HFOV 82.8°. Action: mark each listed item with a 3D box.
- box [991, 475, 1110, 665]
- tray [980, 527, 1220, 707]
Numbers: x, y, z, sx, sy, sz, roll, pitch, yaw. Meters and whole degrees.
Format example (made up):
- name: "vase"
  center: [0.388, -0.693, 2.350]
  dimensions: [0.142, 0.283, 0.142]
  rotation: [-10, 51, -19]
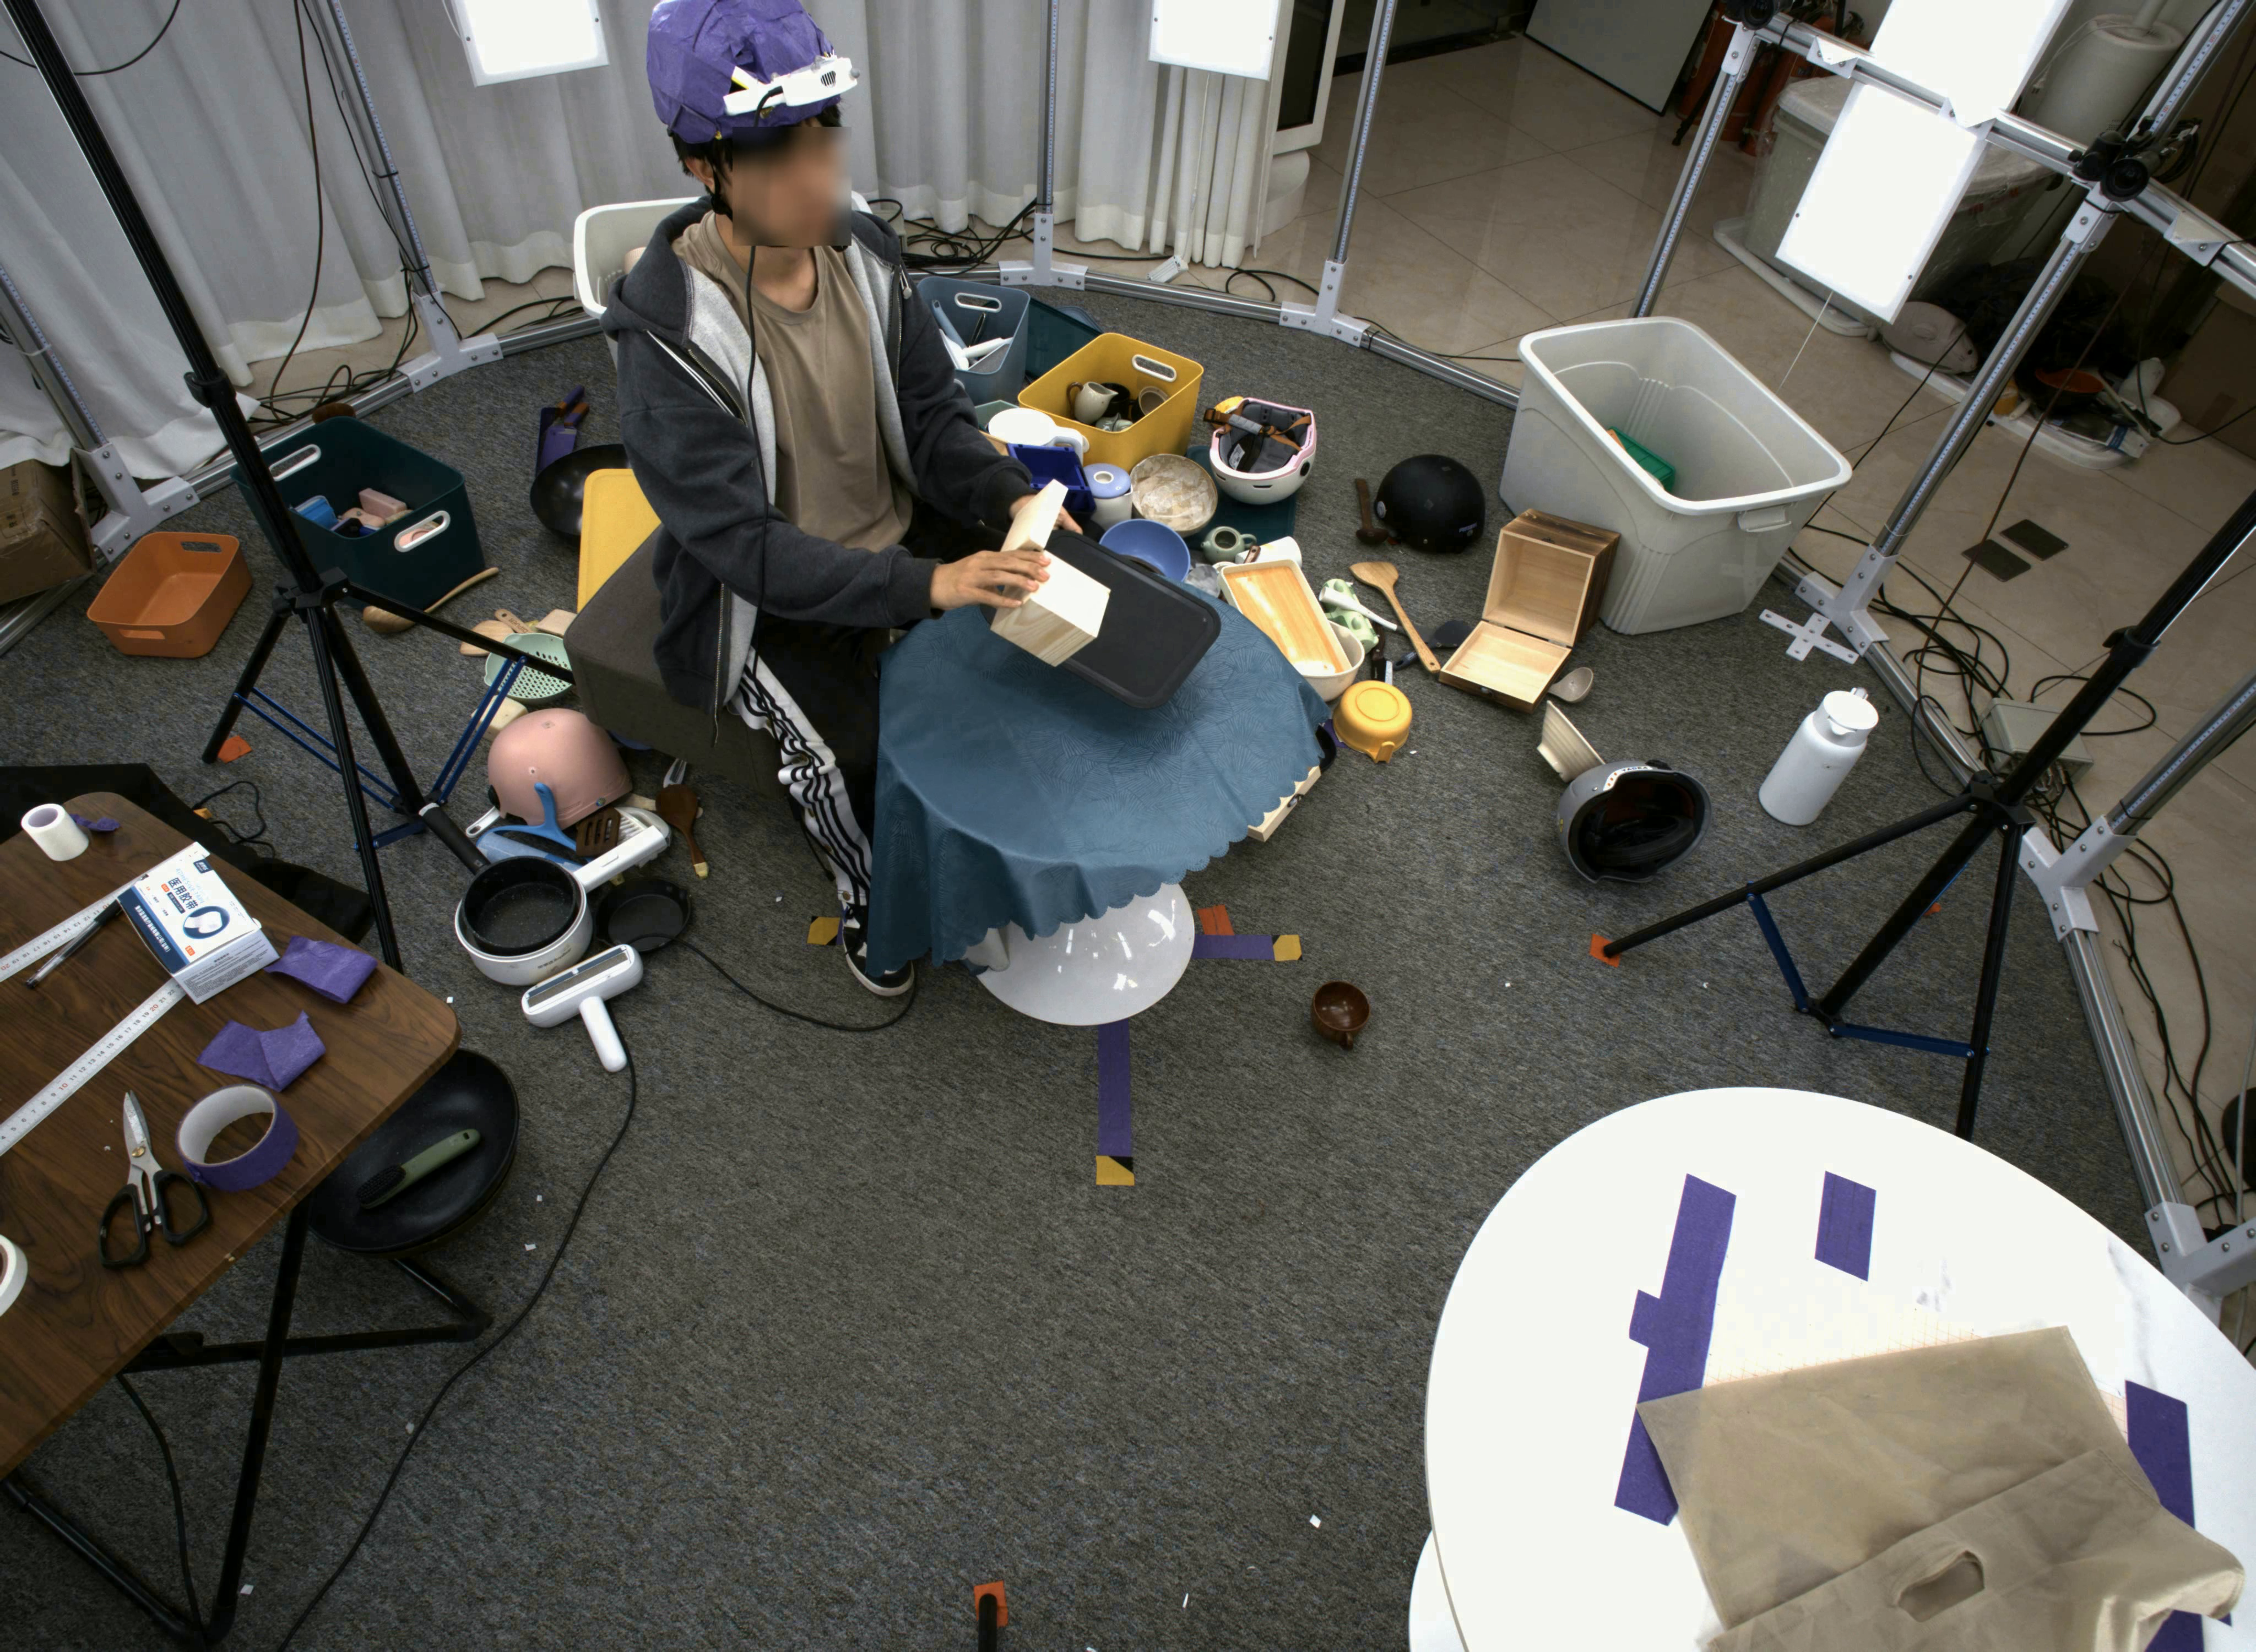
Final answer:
- name: "box"
  center: [-0.093, -0.325, 1.640]
  dimensions: [0.132, 0.102, 0.188]
  rotation: [27, 61, -24]
- name: "tray"
  center: [-0.046, -0.301, 1.799]
  dimensions: [0.328, 0.009, 0.214]
  rotation: [32, 63, 14]
